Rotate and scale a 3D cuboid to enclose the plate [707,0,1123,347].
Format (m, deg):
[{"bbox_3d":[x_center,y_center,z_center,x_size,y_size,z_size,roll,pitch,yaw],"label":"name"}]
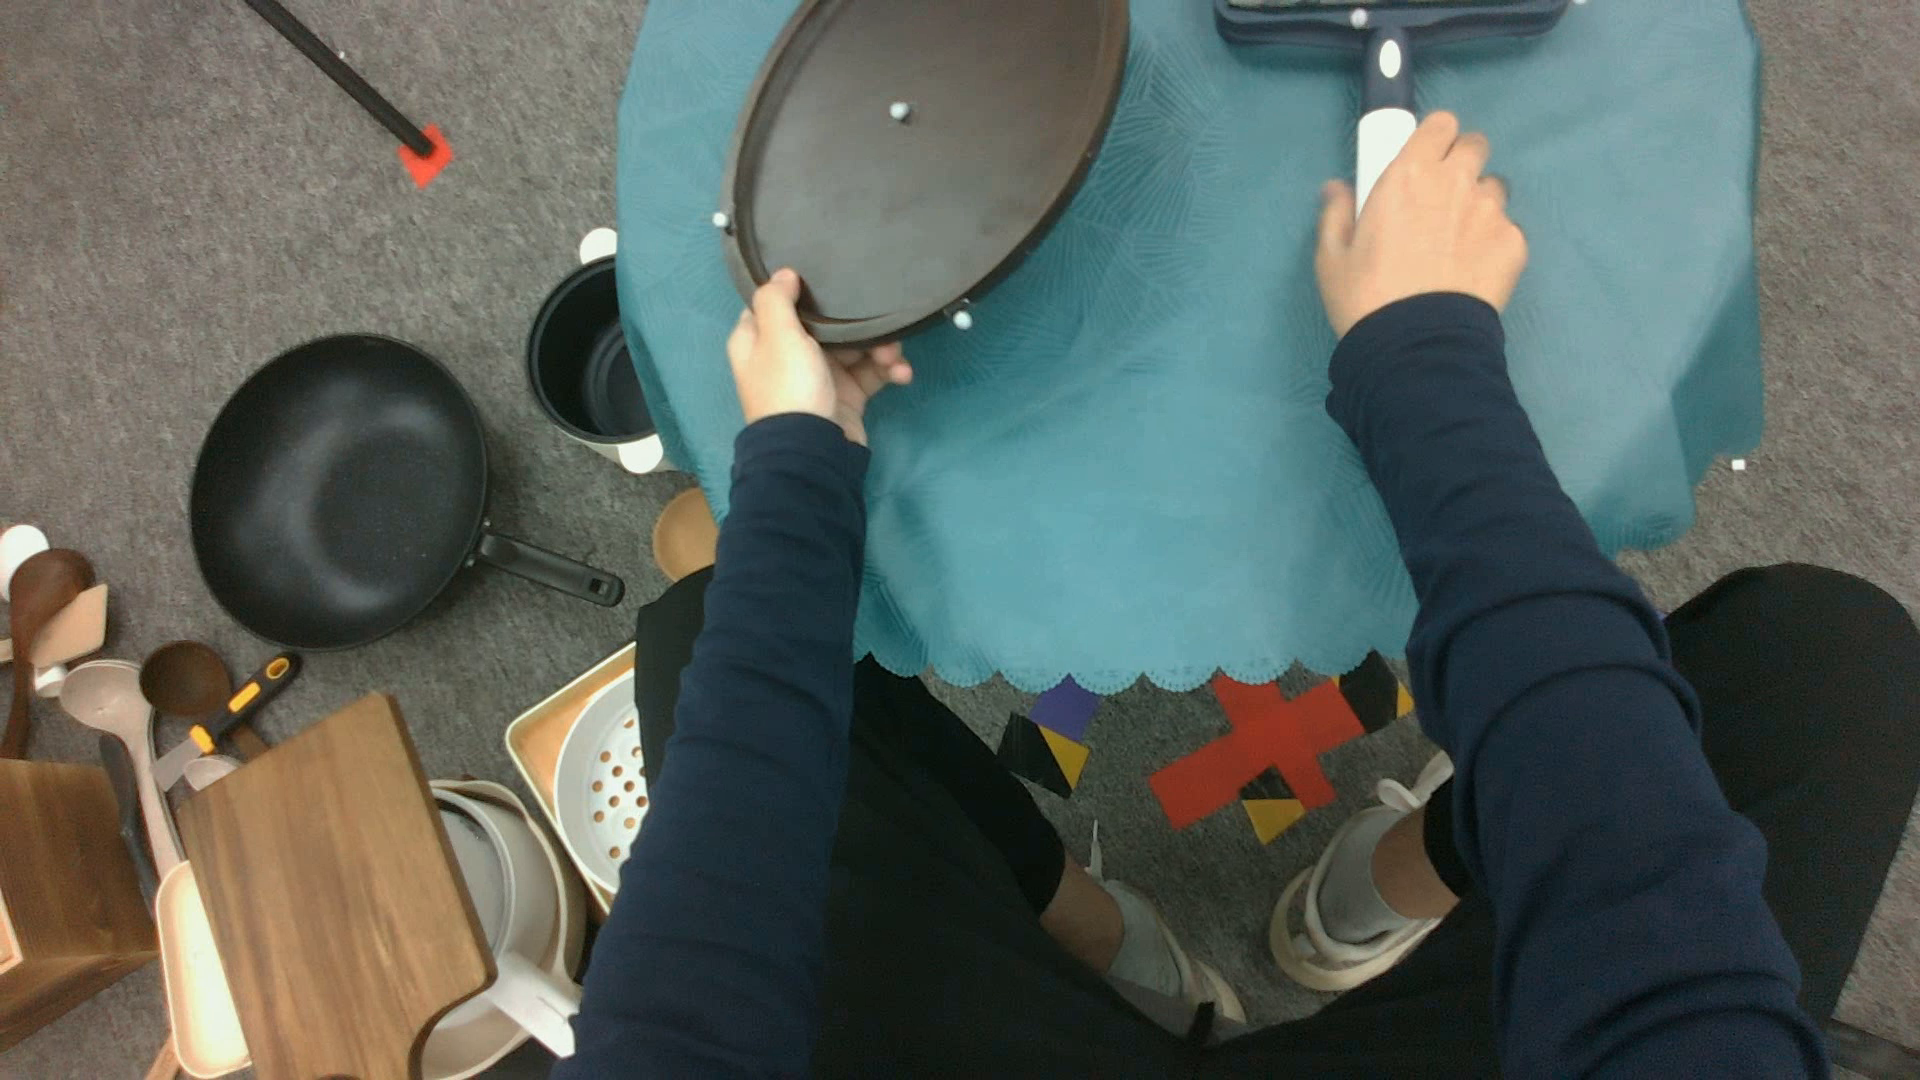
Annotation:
[{"bbox_3d":[-0.029,-0.213,0.690,0.254,0.029,0.255,-14,65,33],"label":"plate"}]

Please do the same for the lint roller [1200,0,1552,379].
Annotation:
[{"bbox_3d":[0.208,-0.204,0.690,0.176,0.050,0.247,1,80,8],"label":"lint roller"}]
